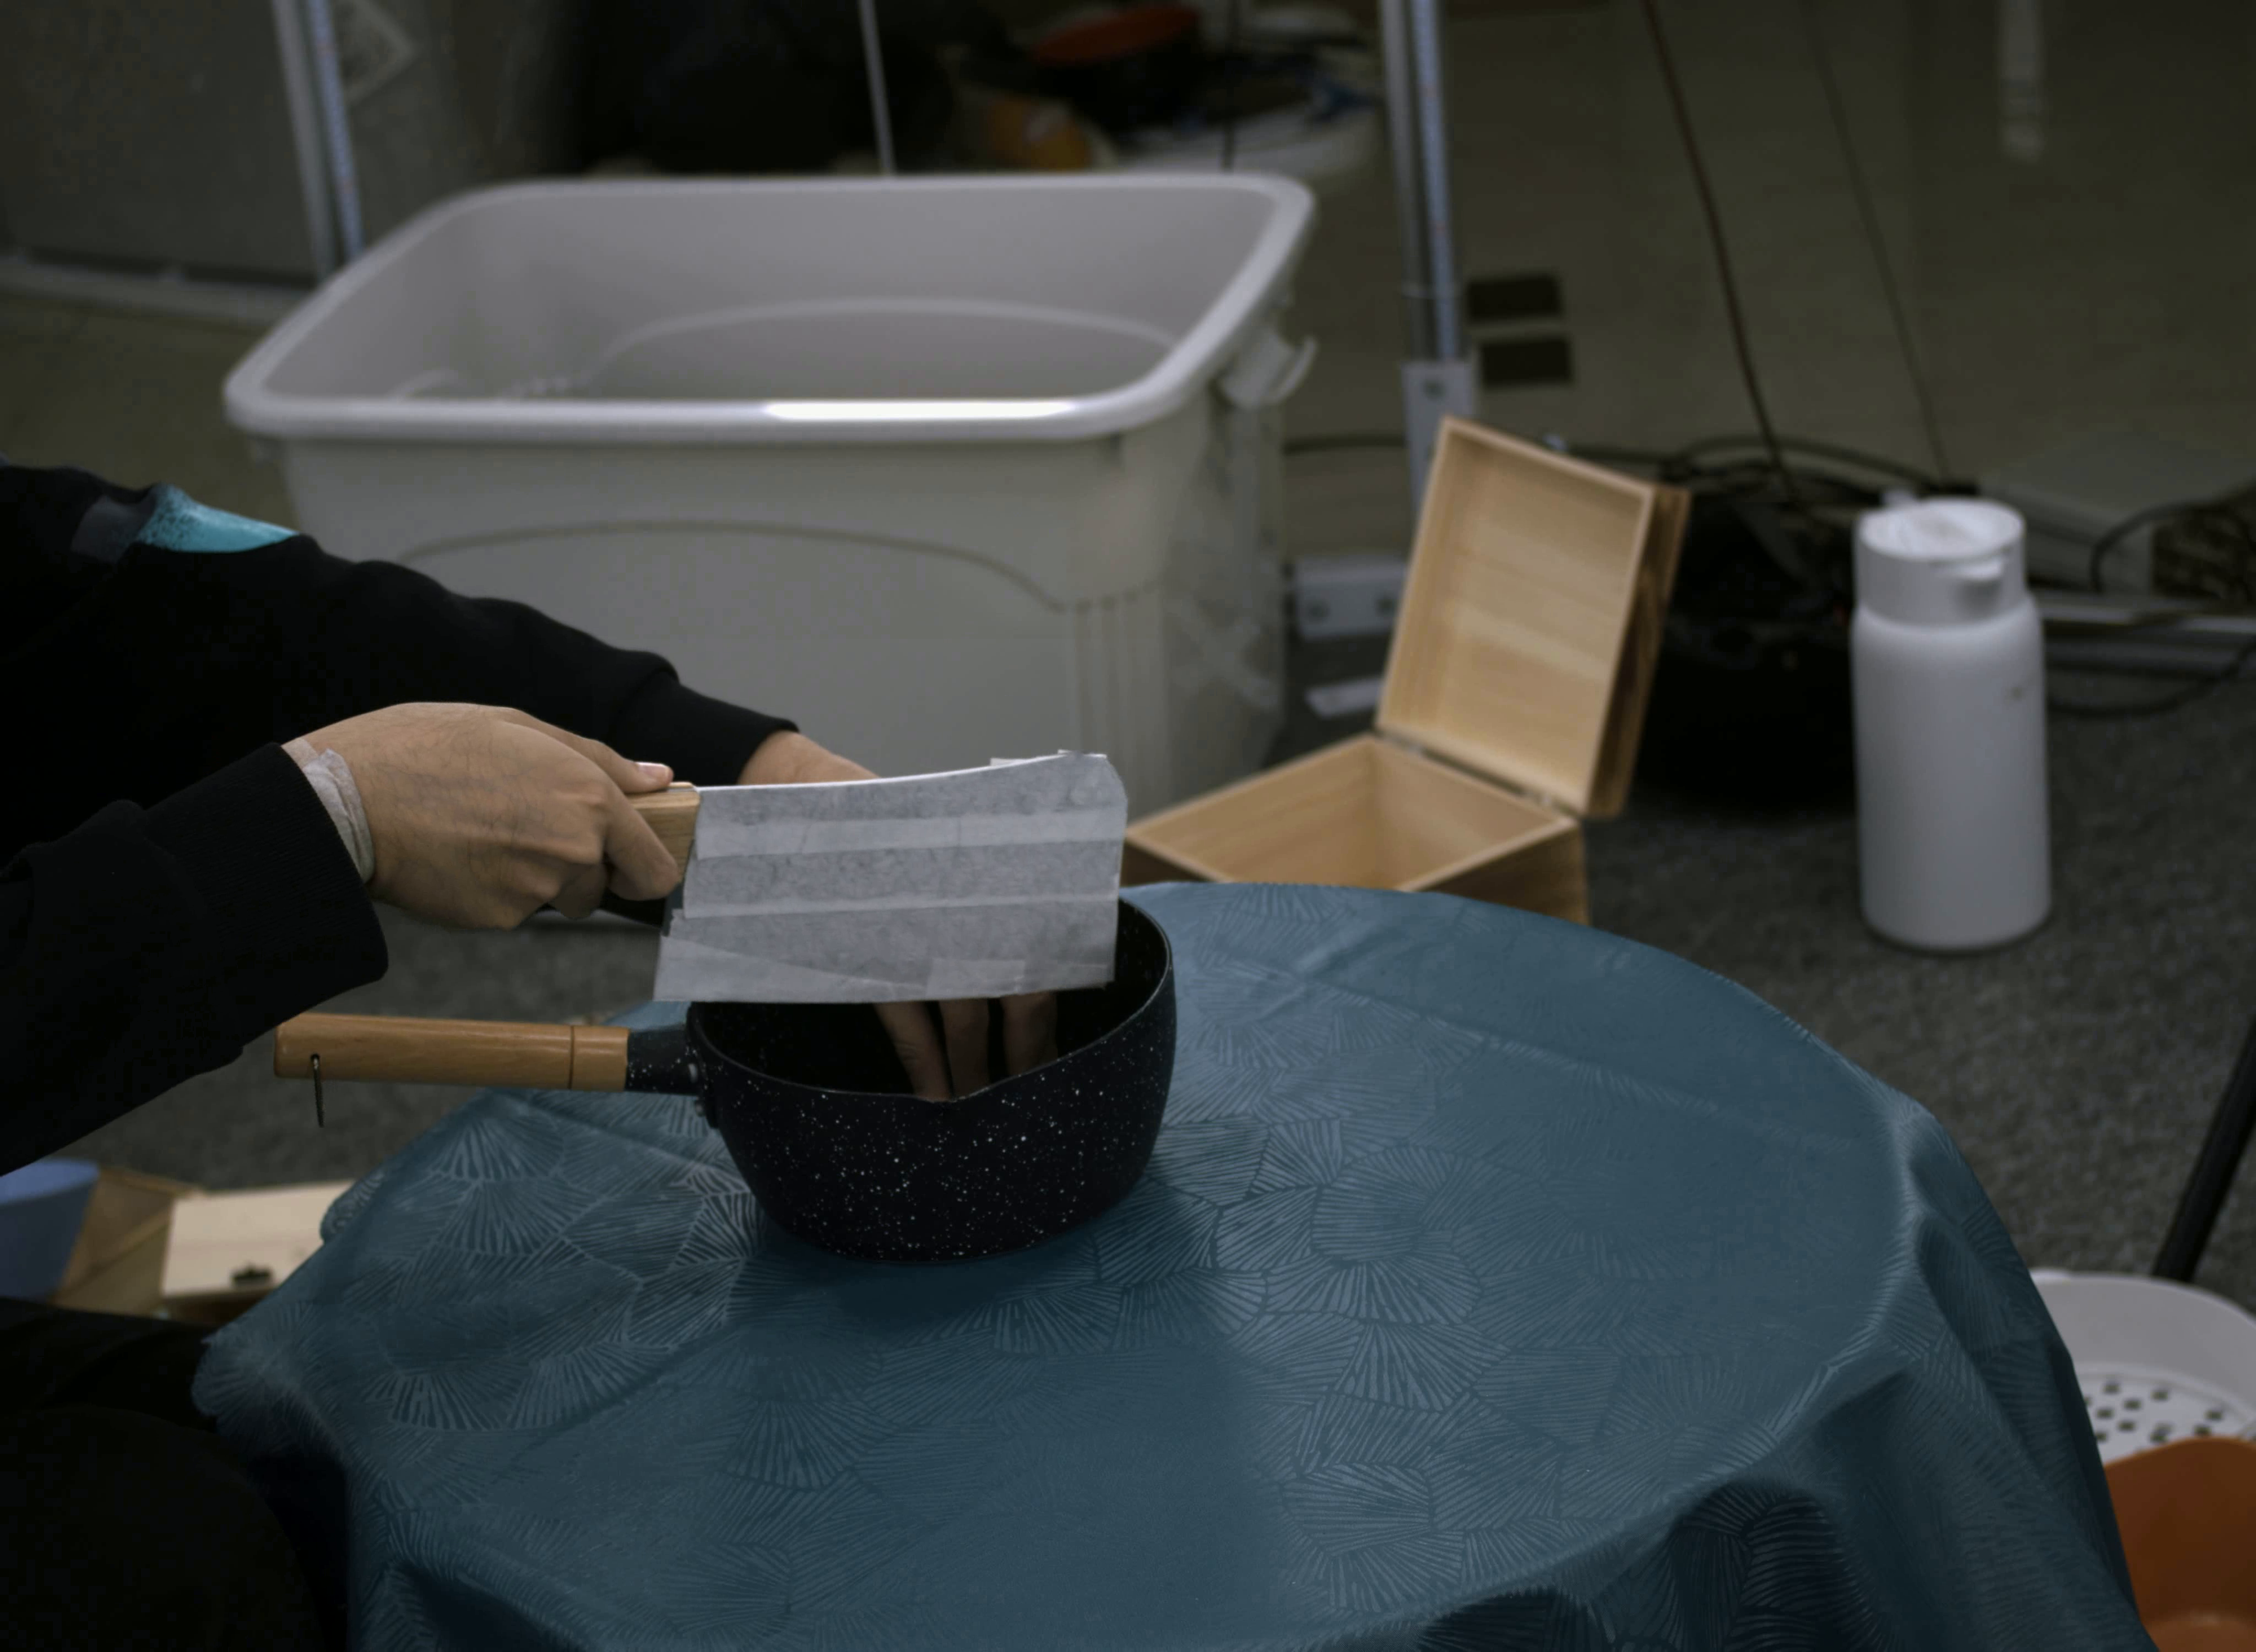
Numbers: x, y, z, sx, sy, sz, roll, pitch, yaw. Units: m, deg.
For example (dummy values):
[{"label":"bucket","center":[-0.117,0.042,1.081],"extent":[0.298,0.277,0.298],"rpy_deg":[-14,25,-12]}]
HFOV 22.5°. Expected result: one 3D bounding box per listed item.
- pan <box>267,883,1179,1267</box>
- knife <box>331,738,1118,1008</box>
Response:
[{"label":"pan","center":[-0.149,0.096,2.143],"extent":[0.342,0.110,0.204],"rpy_deg":[-8,26,-7]},{"label":"knife","center":[-0.141,0.015,2.081],"extent":[0.315,0.115,0.021],"rpy_deg":[2,24,-25]}]
